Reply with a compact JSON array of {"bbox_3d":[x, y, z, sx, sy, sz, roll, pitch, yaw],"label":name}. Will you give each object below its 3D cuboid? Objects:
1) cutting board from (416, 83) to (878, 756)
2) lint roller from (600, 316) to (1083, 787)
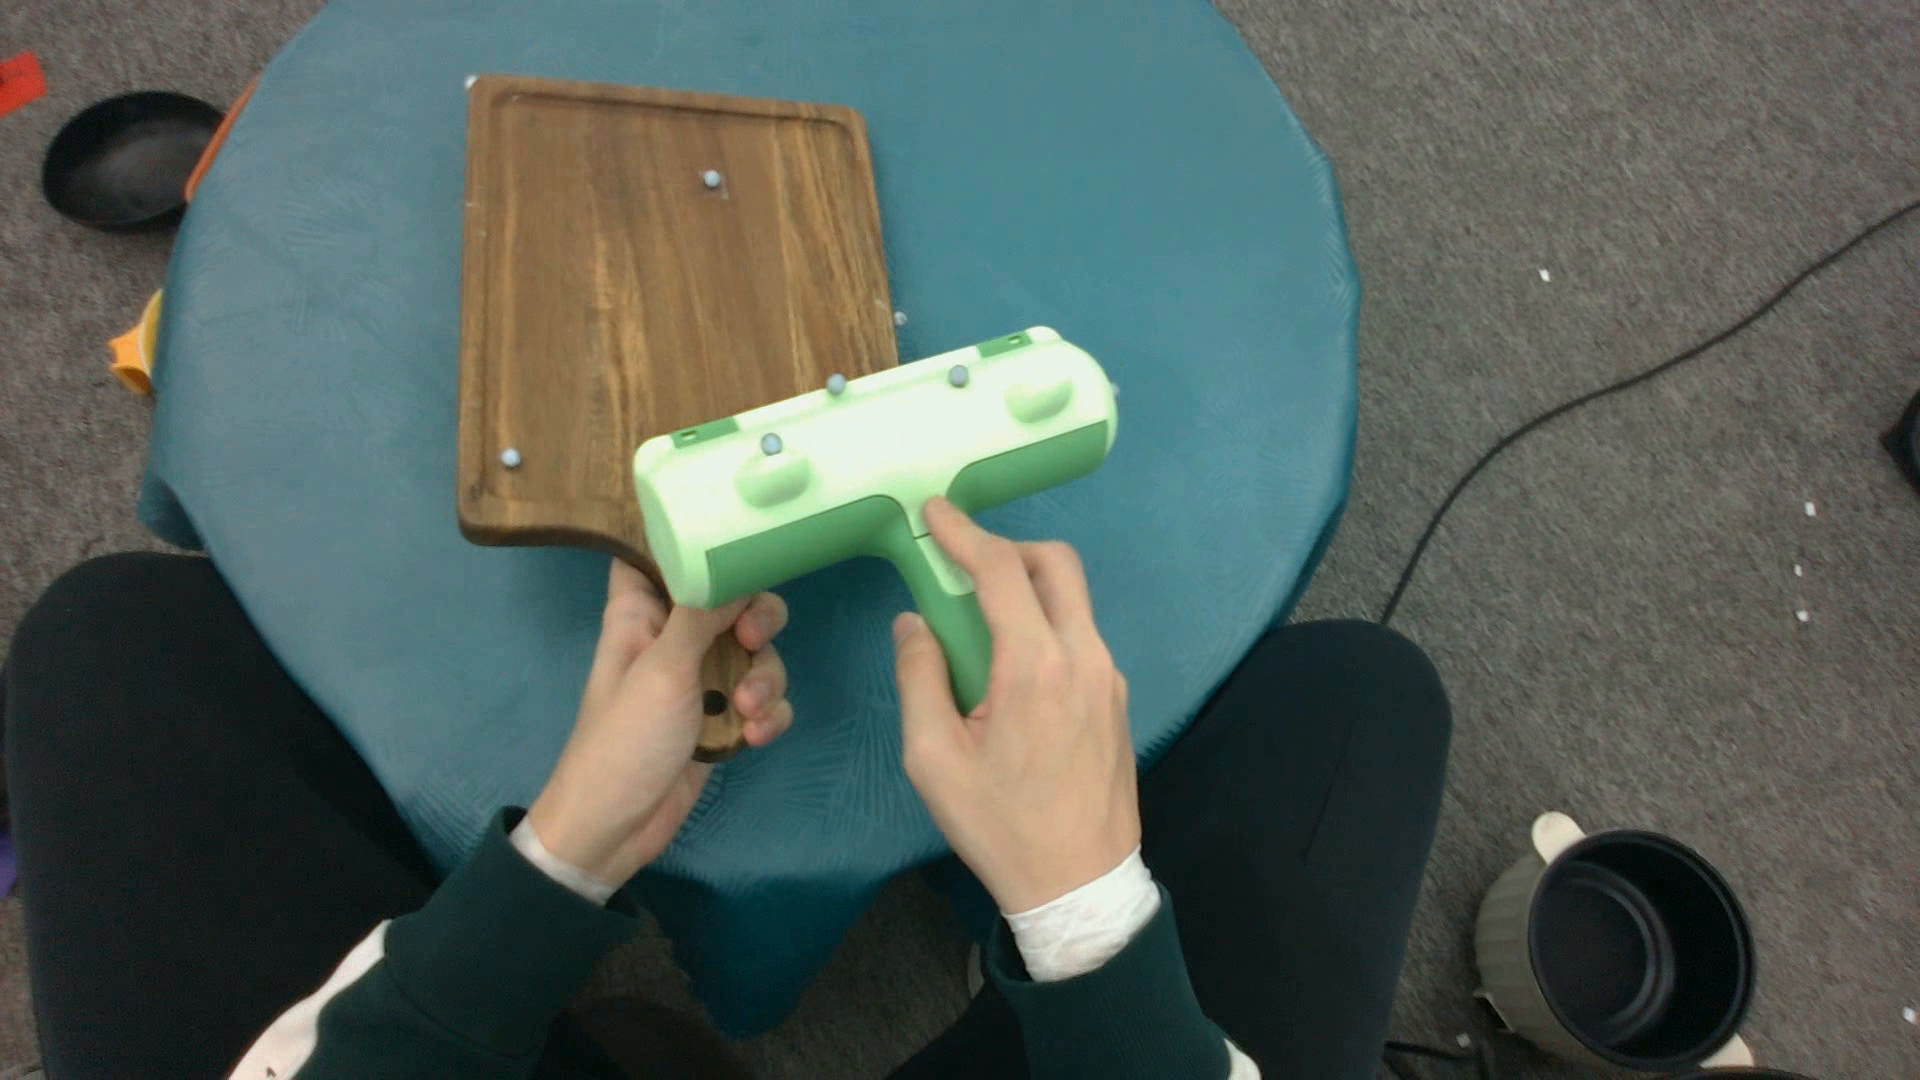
[{"bbox_3d":[-0.135,-0.072,0.627,0.201,0.023,0.353,-5,64,-17],"label":"cutting board"},{"bbox_3d":[-0.011,0.003,0.525,0.199,0.082,0.183,-21,64,-27],"label":"lint roller"}]
